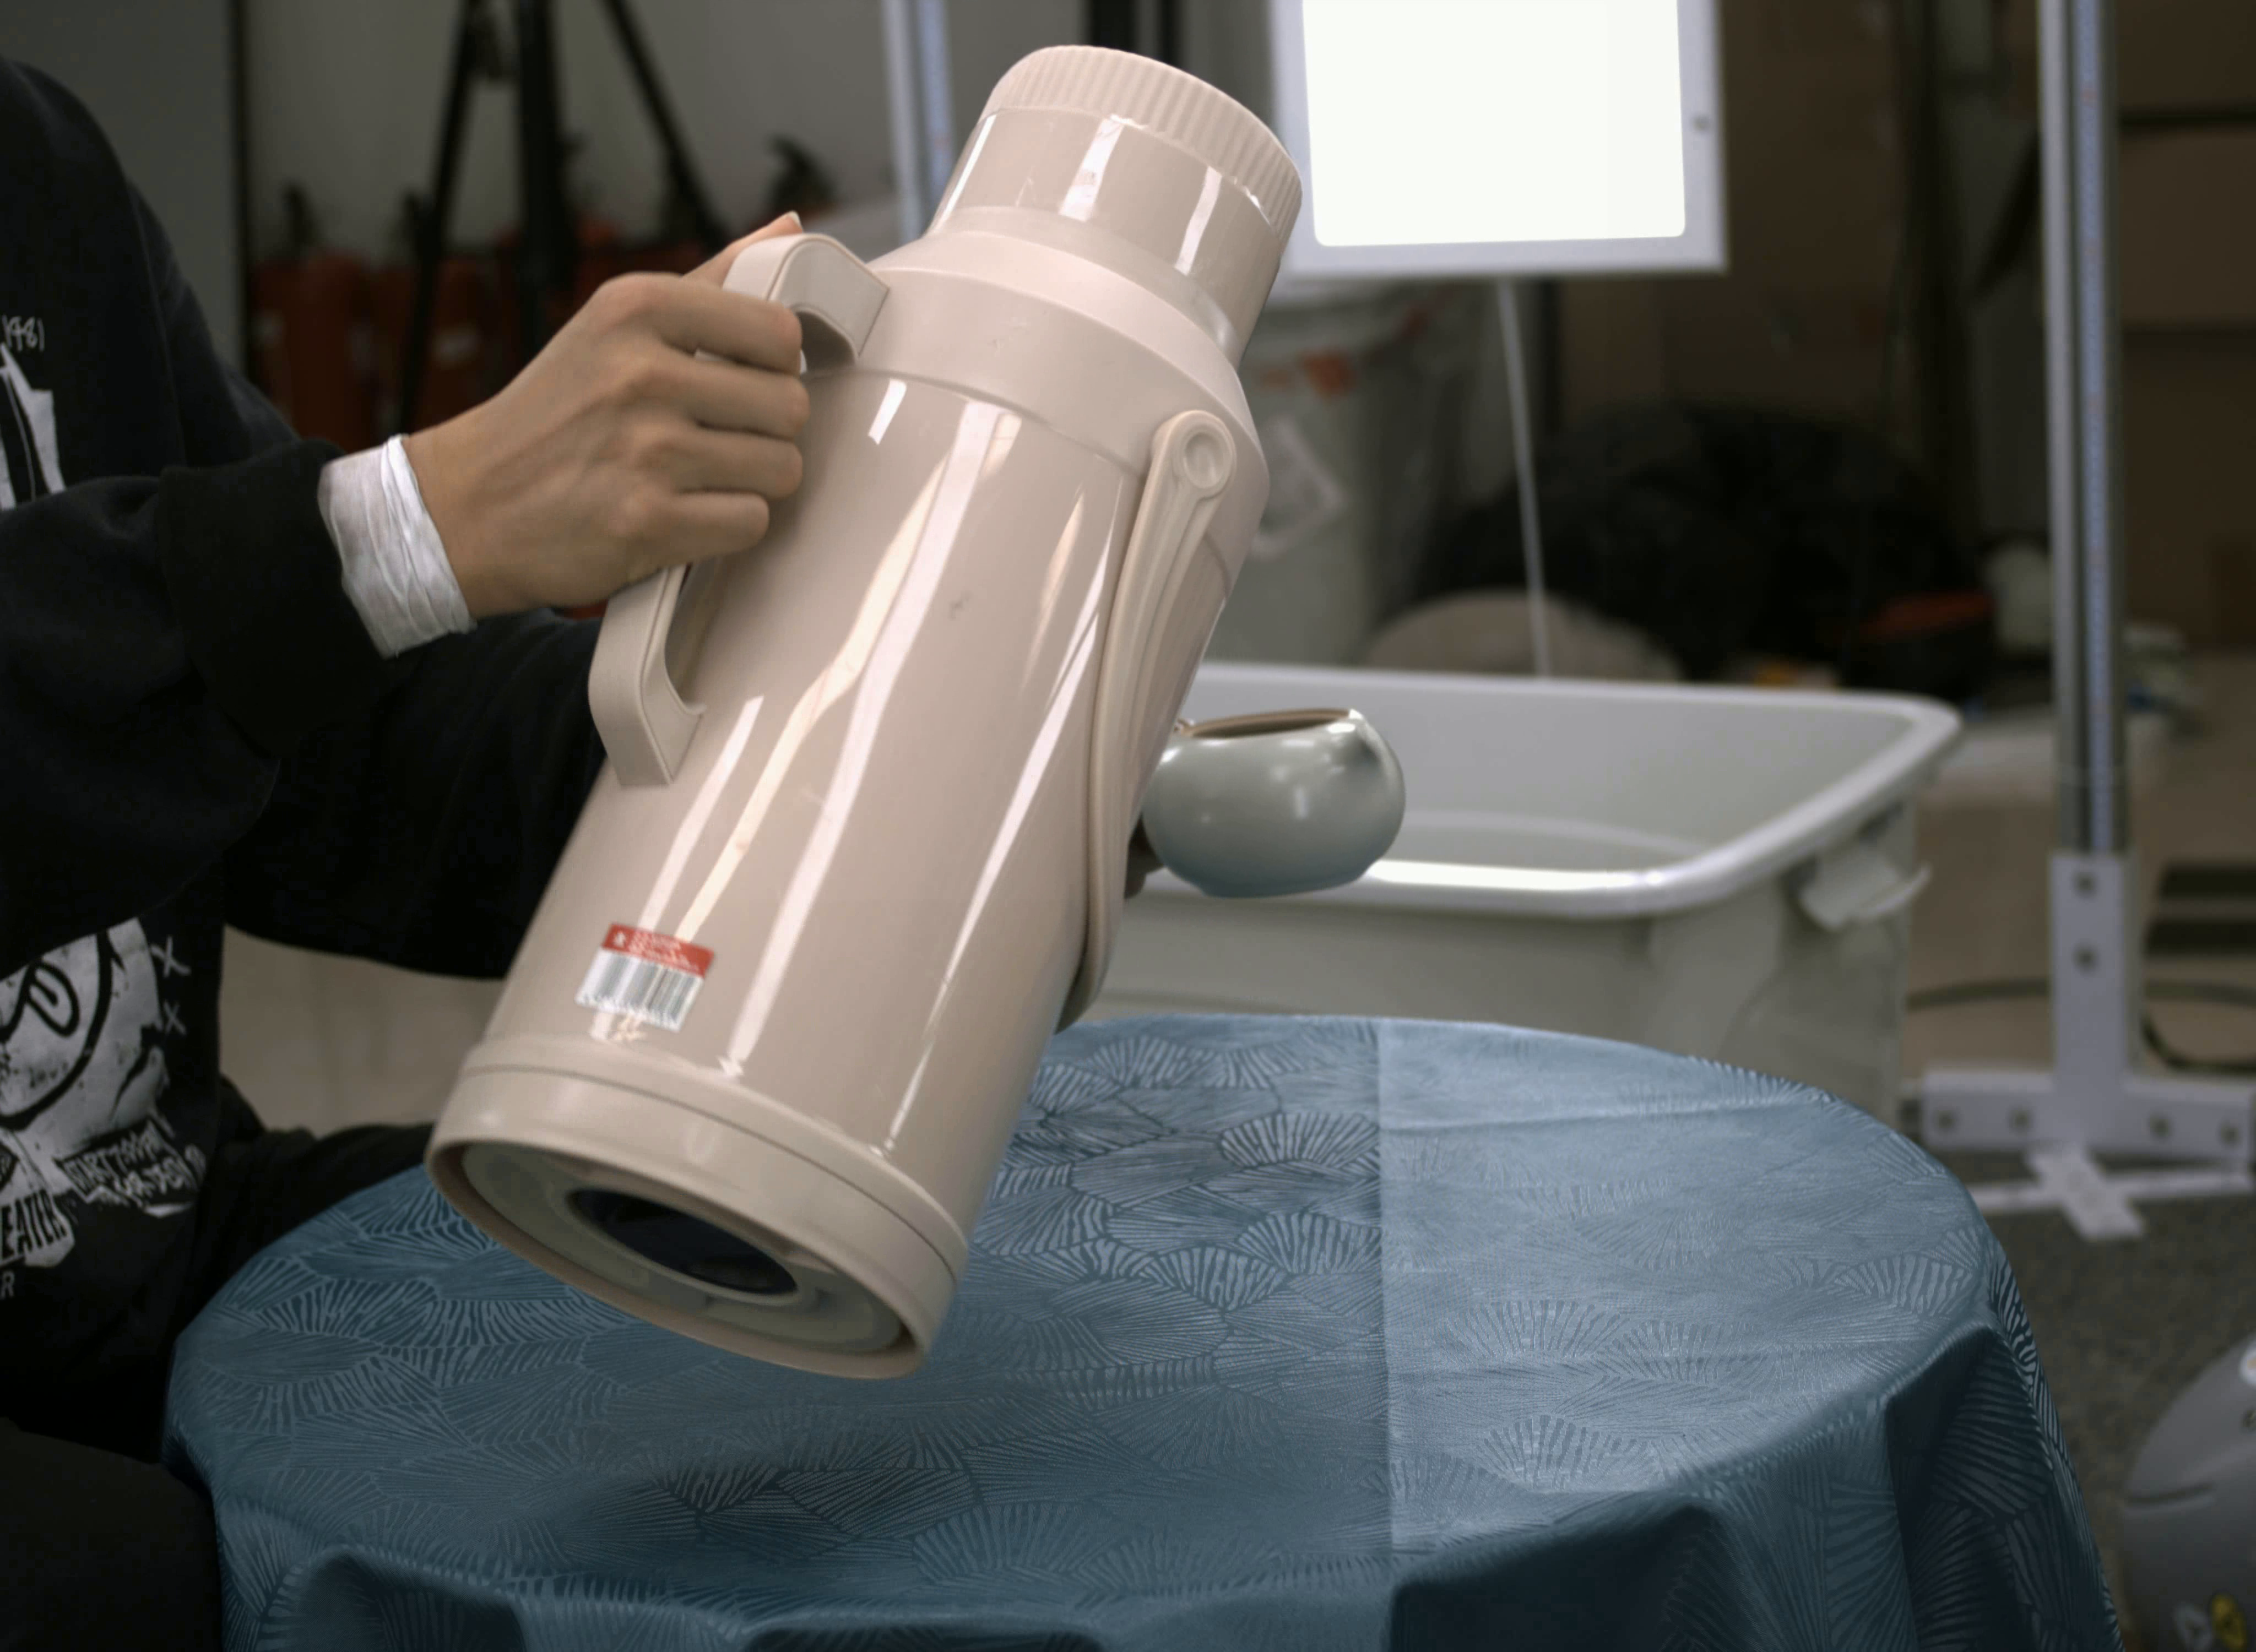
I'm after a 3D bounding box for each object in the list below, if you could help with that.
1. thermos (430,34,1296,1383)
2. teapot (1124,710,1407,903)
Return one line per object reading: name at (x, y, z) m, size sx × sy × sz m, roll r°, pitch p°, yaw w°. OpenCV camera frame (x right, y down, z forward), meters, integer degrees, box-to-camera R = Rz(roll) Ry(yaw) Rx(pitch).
thermos at (-0.074, -0.051, 1.665) m, size 0.179 × 0.404 × 0.203 m, roll 1°, pitch -27°, yaw 48°
teapot at (0.044, -0.007, 1.907) m, size 0.089 × 0.060 × 0.131 m, roll -18°, pitch 14°, yaw -42°
